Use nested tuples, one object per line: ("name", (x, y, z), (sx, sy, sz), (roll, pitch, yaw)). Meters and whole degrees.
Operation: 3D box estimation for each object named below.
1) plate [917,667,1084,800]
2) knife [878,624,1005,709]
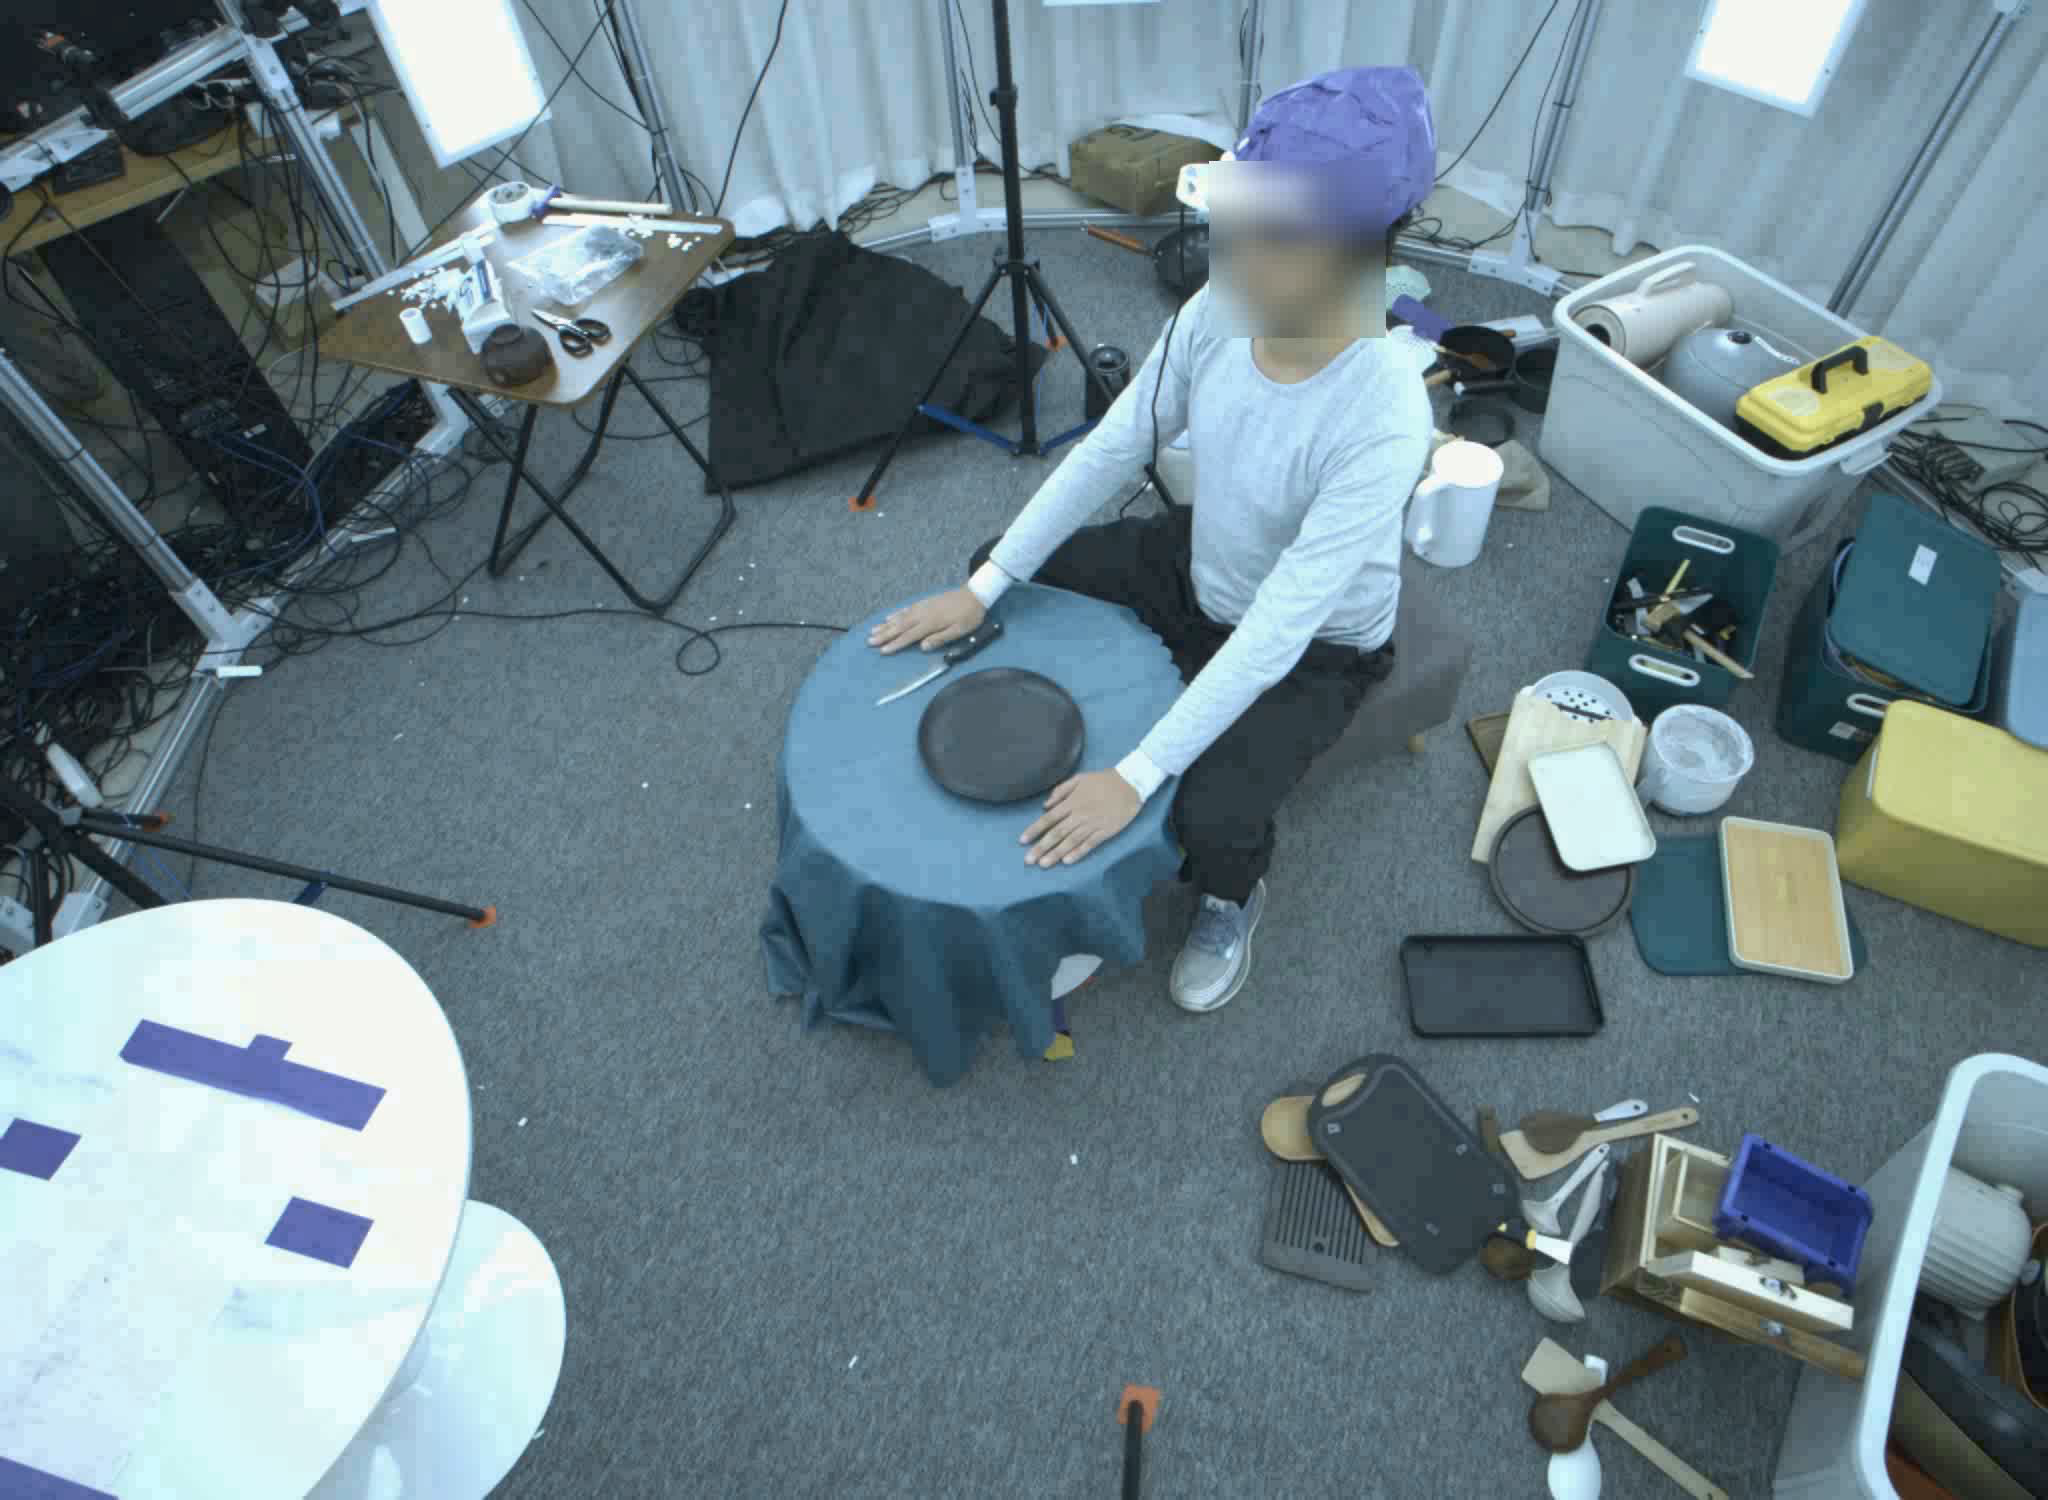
("plate", (-0.034, -0.022, 1.798), (0.244, 0.023, 0.242), (0, 54, 1))
("knife", (-0.129, -0.130, 1.884), (0.240, 0.016, 0.024), (-35, 59, -18))
